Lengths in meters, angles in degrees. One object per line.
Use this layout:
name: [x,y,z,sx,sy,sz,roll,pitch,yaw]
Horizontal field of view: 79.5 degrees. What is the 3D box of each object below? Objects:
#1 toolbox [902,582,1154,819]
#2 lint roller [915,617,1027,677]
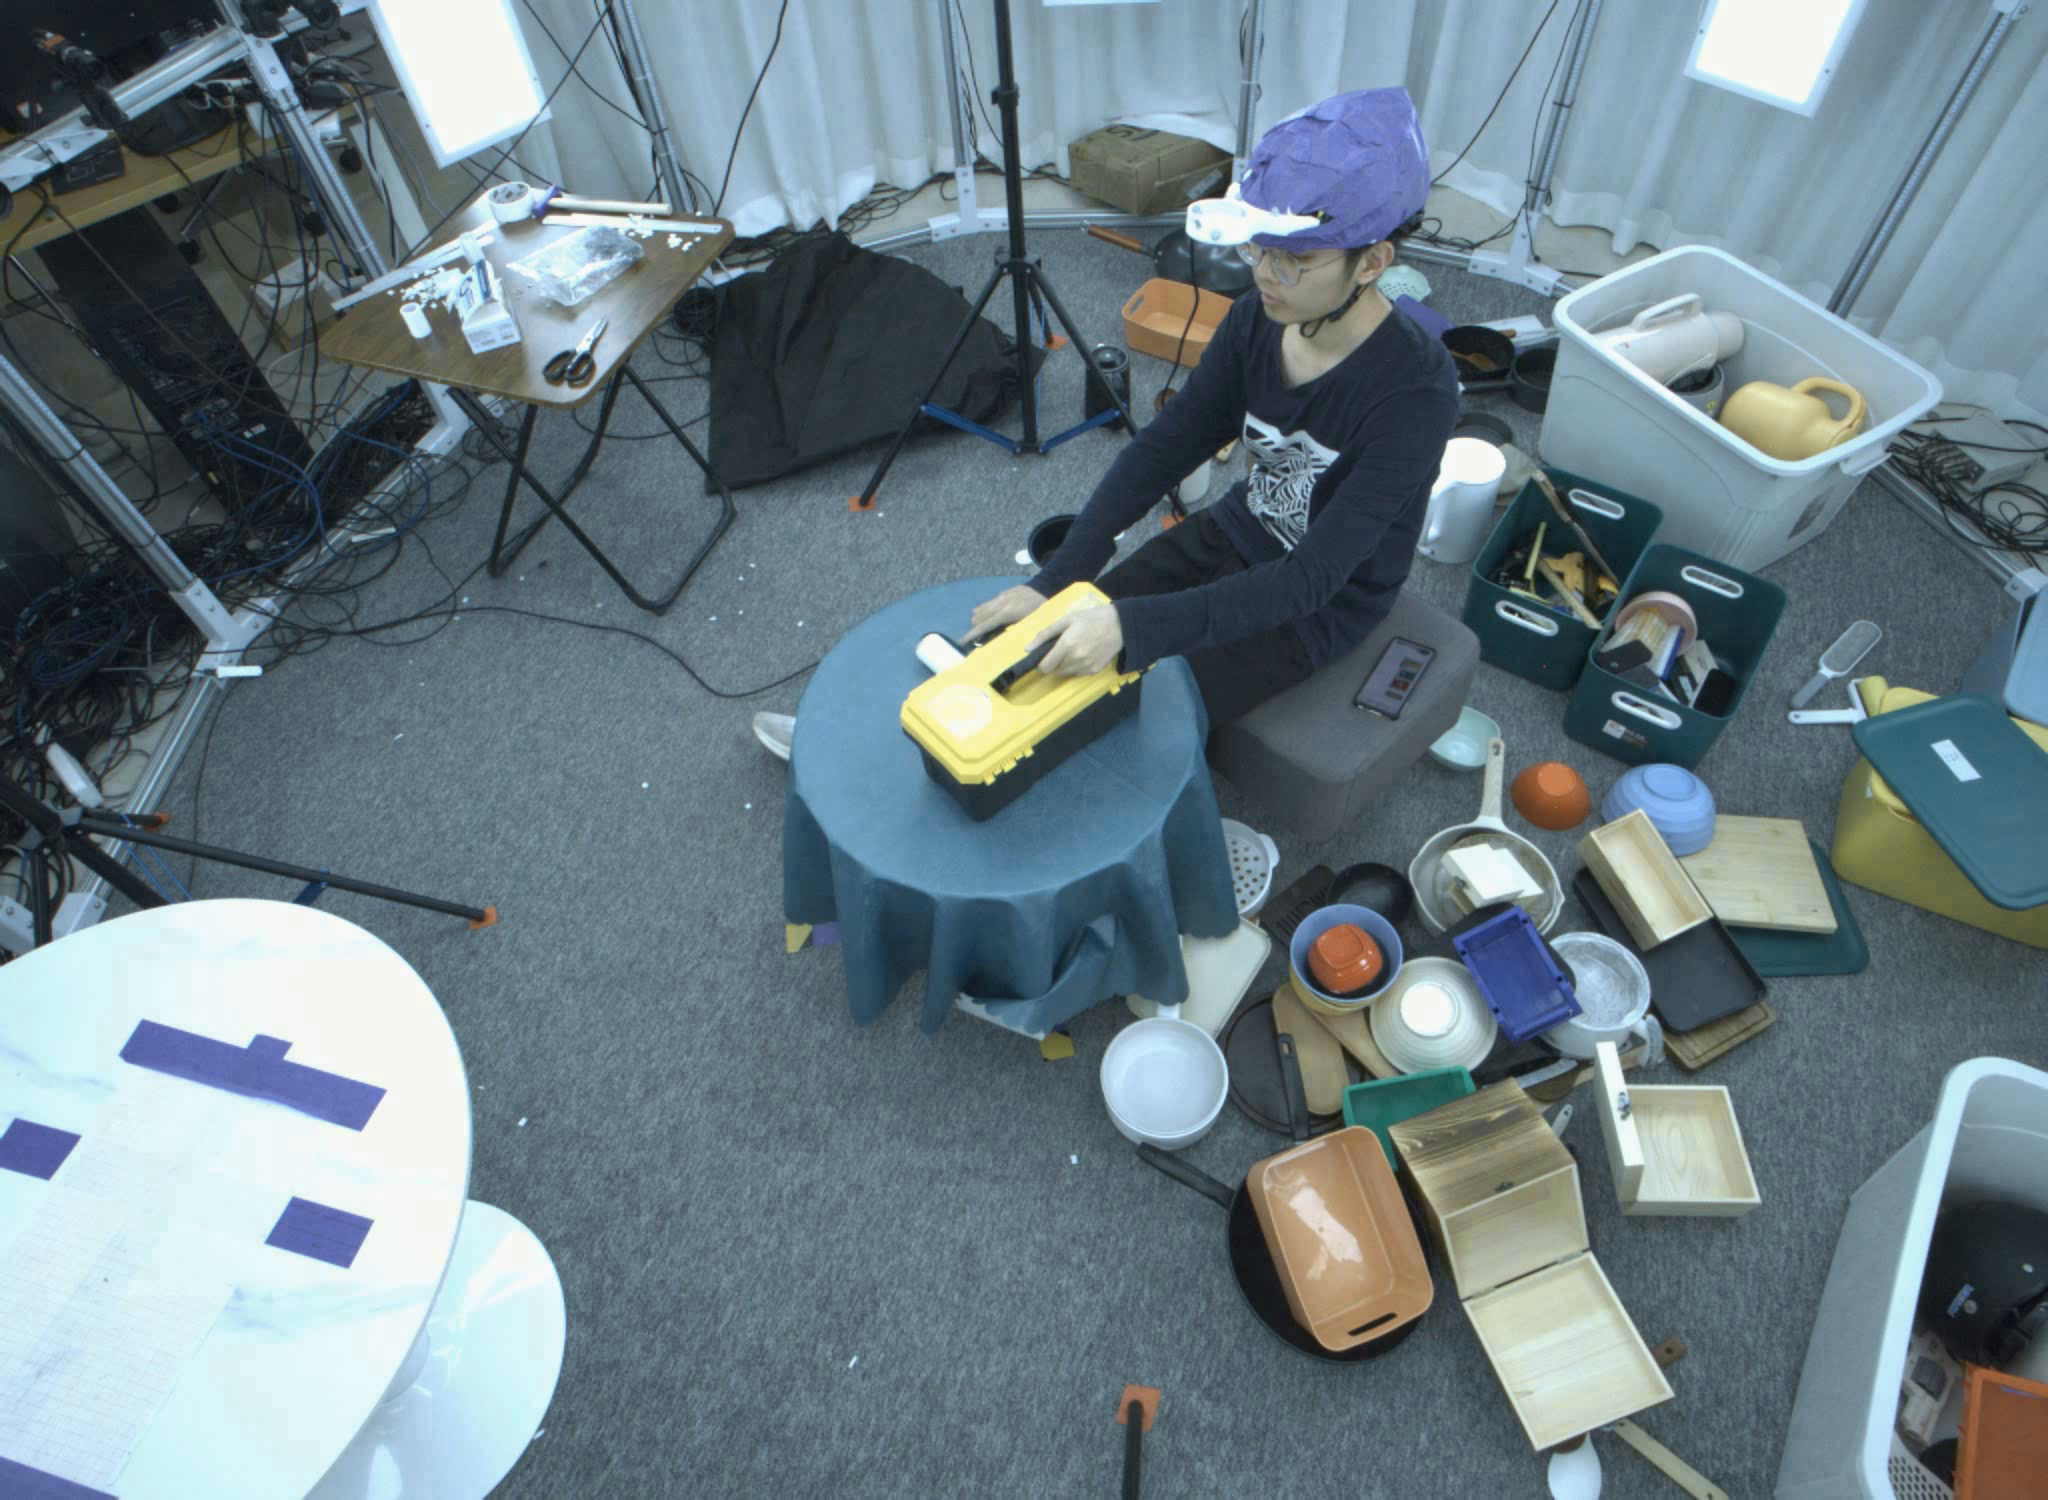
toolbox: [0.010,-0.070,1.738,0.354,0.174,0.178,-36,61,-22]
lint roller: [-0.066,-0.169,1.887,0.181,0.049,0.132,-37,60,-22]
